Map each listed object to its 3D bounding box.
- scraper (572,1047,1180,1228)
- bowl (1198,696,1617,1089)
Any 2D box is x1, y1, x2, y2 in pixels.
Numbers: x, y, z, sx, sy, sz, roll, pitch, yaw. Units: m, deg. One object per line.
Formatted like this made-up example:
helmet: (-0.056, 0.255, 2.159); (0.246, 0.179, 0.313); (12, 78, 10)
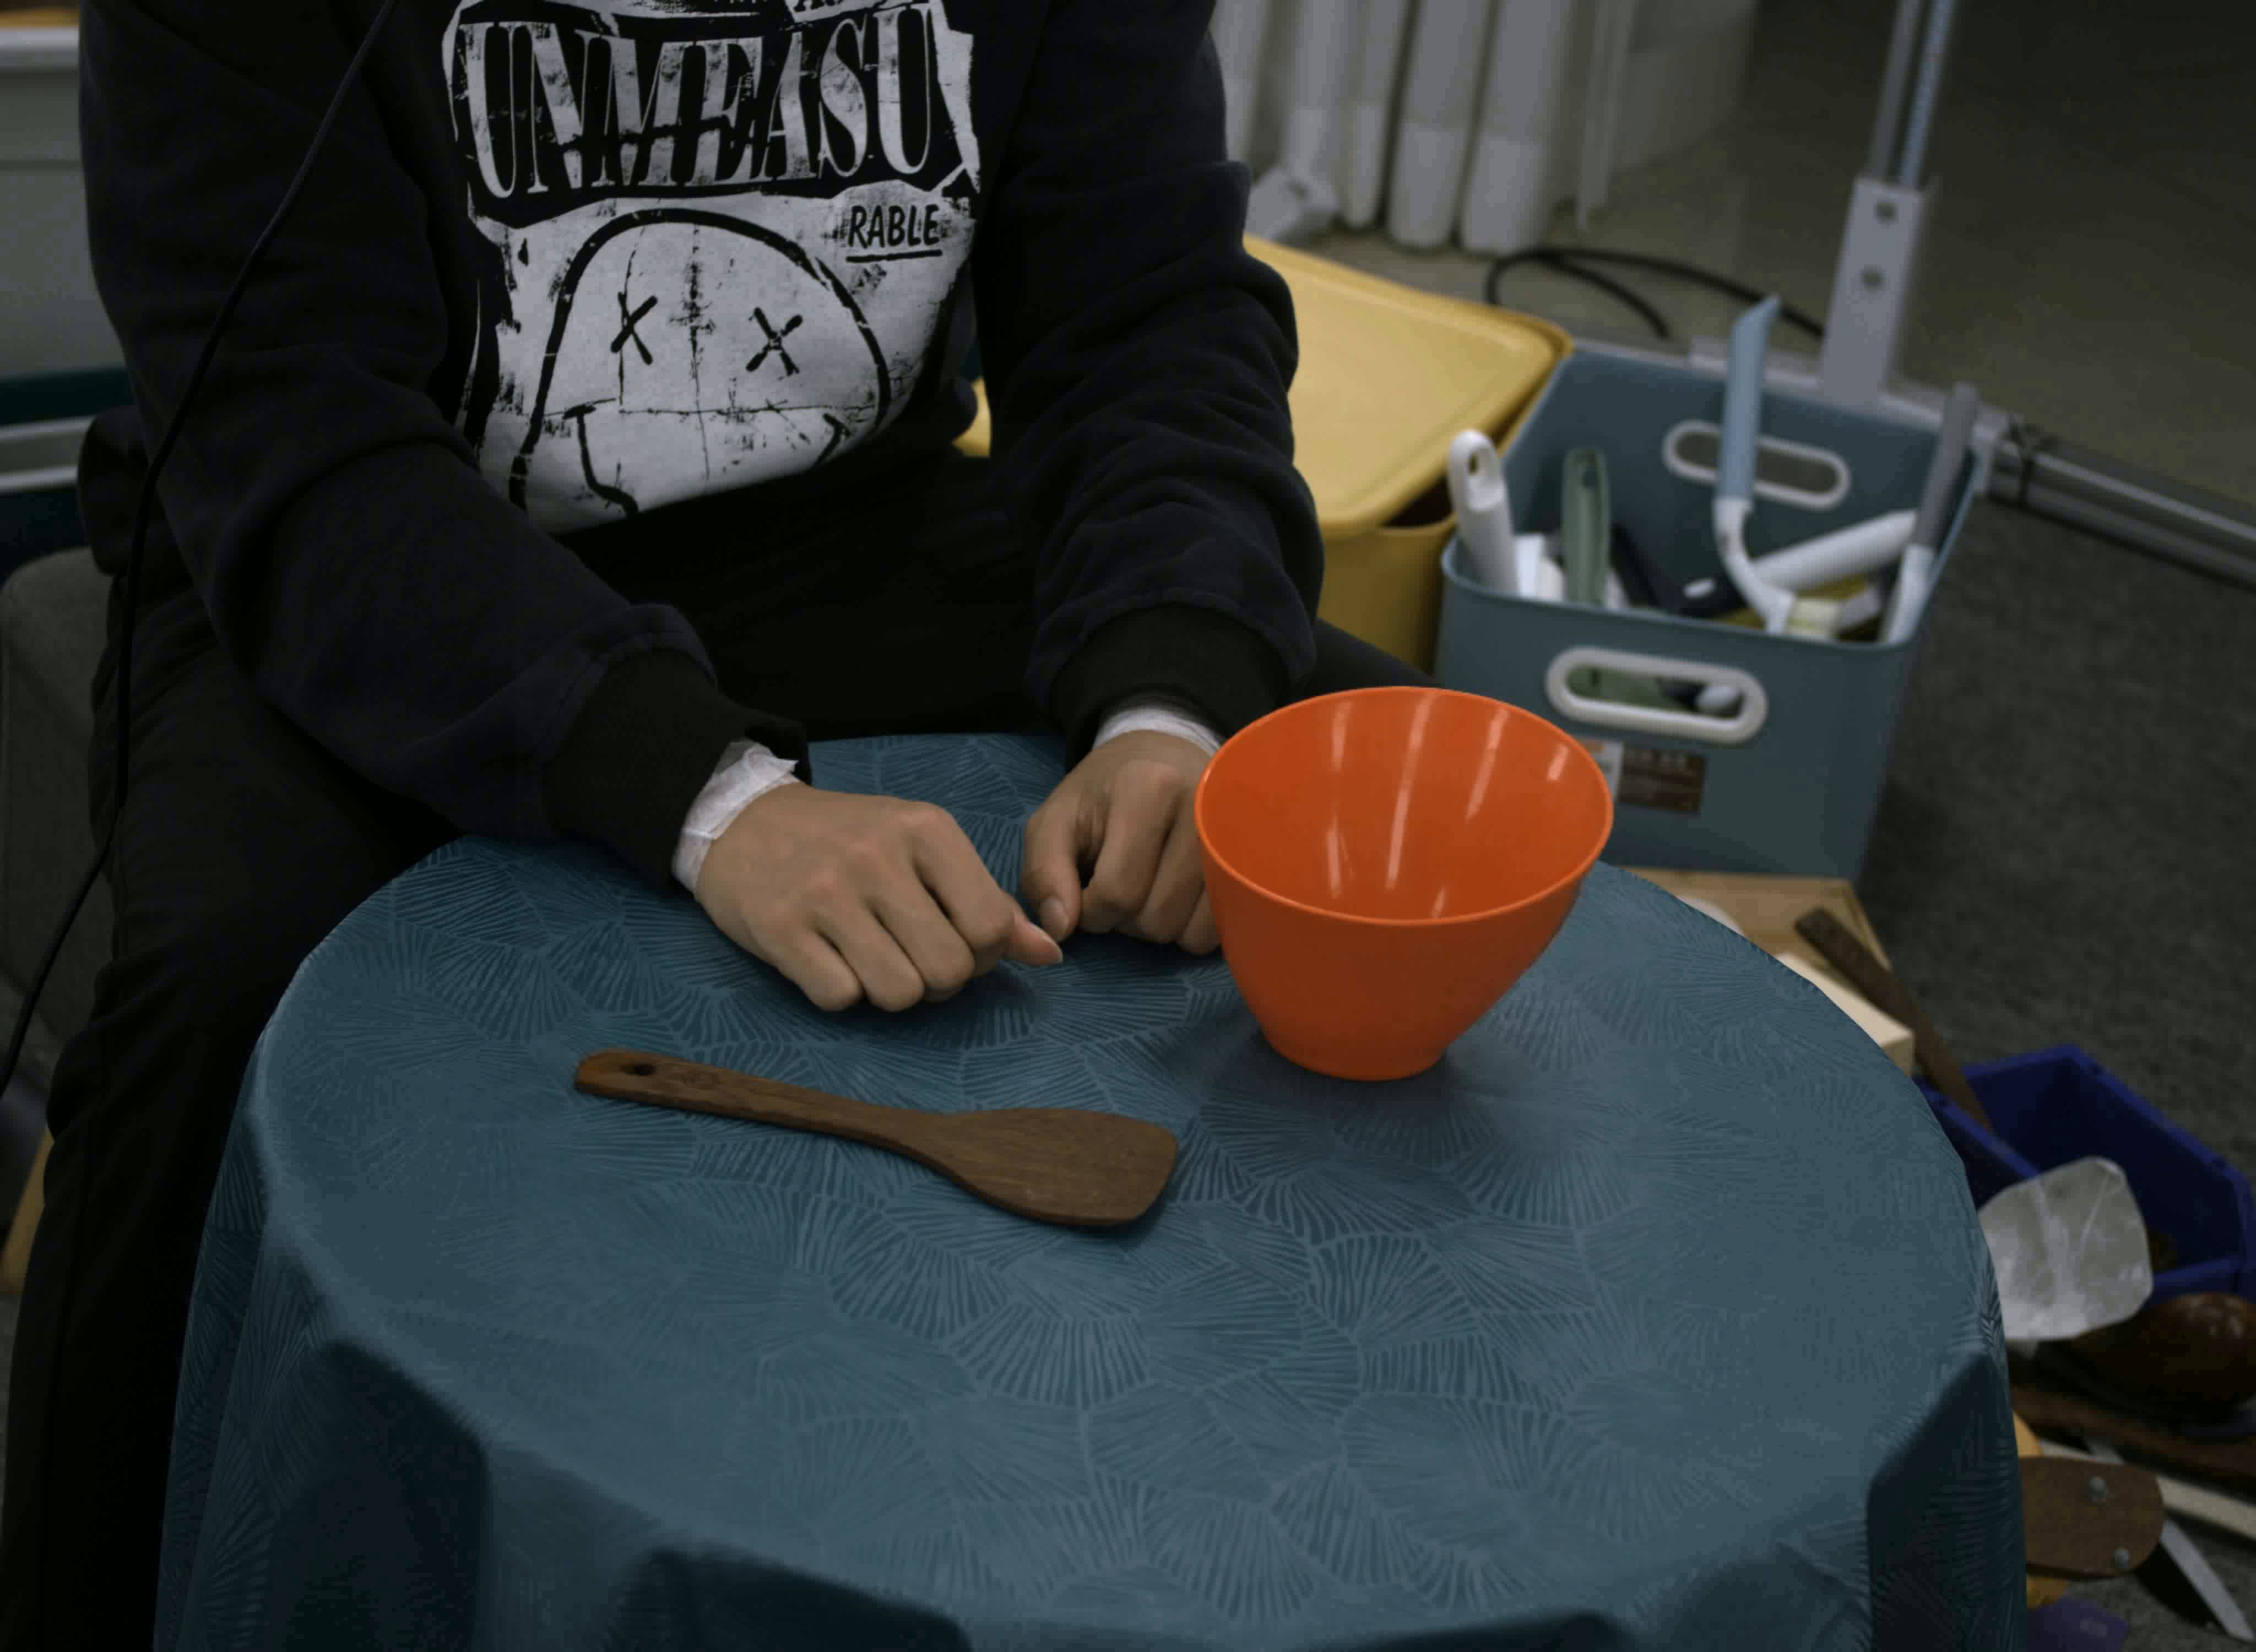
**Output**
scraper: (-0.088, 0.102, 1.815); (0.211, 0.011, 0.076); (11, 26, 10)
bowl: (0.094, 0.030, 1.897); (0.147, 0.104, 0.149); (5, 26, -3)
